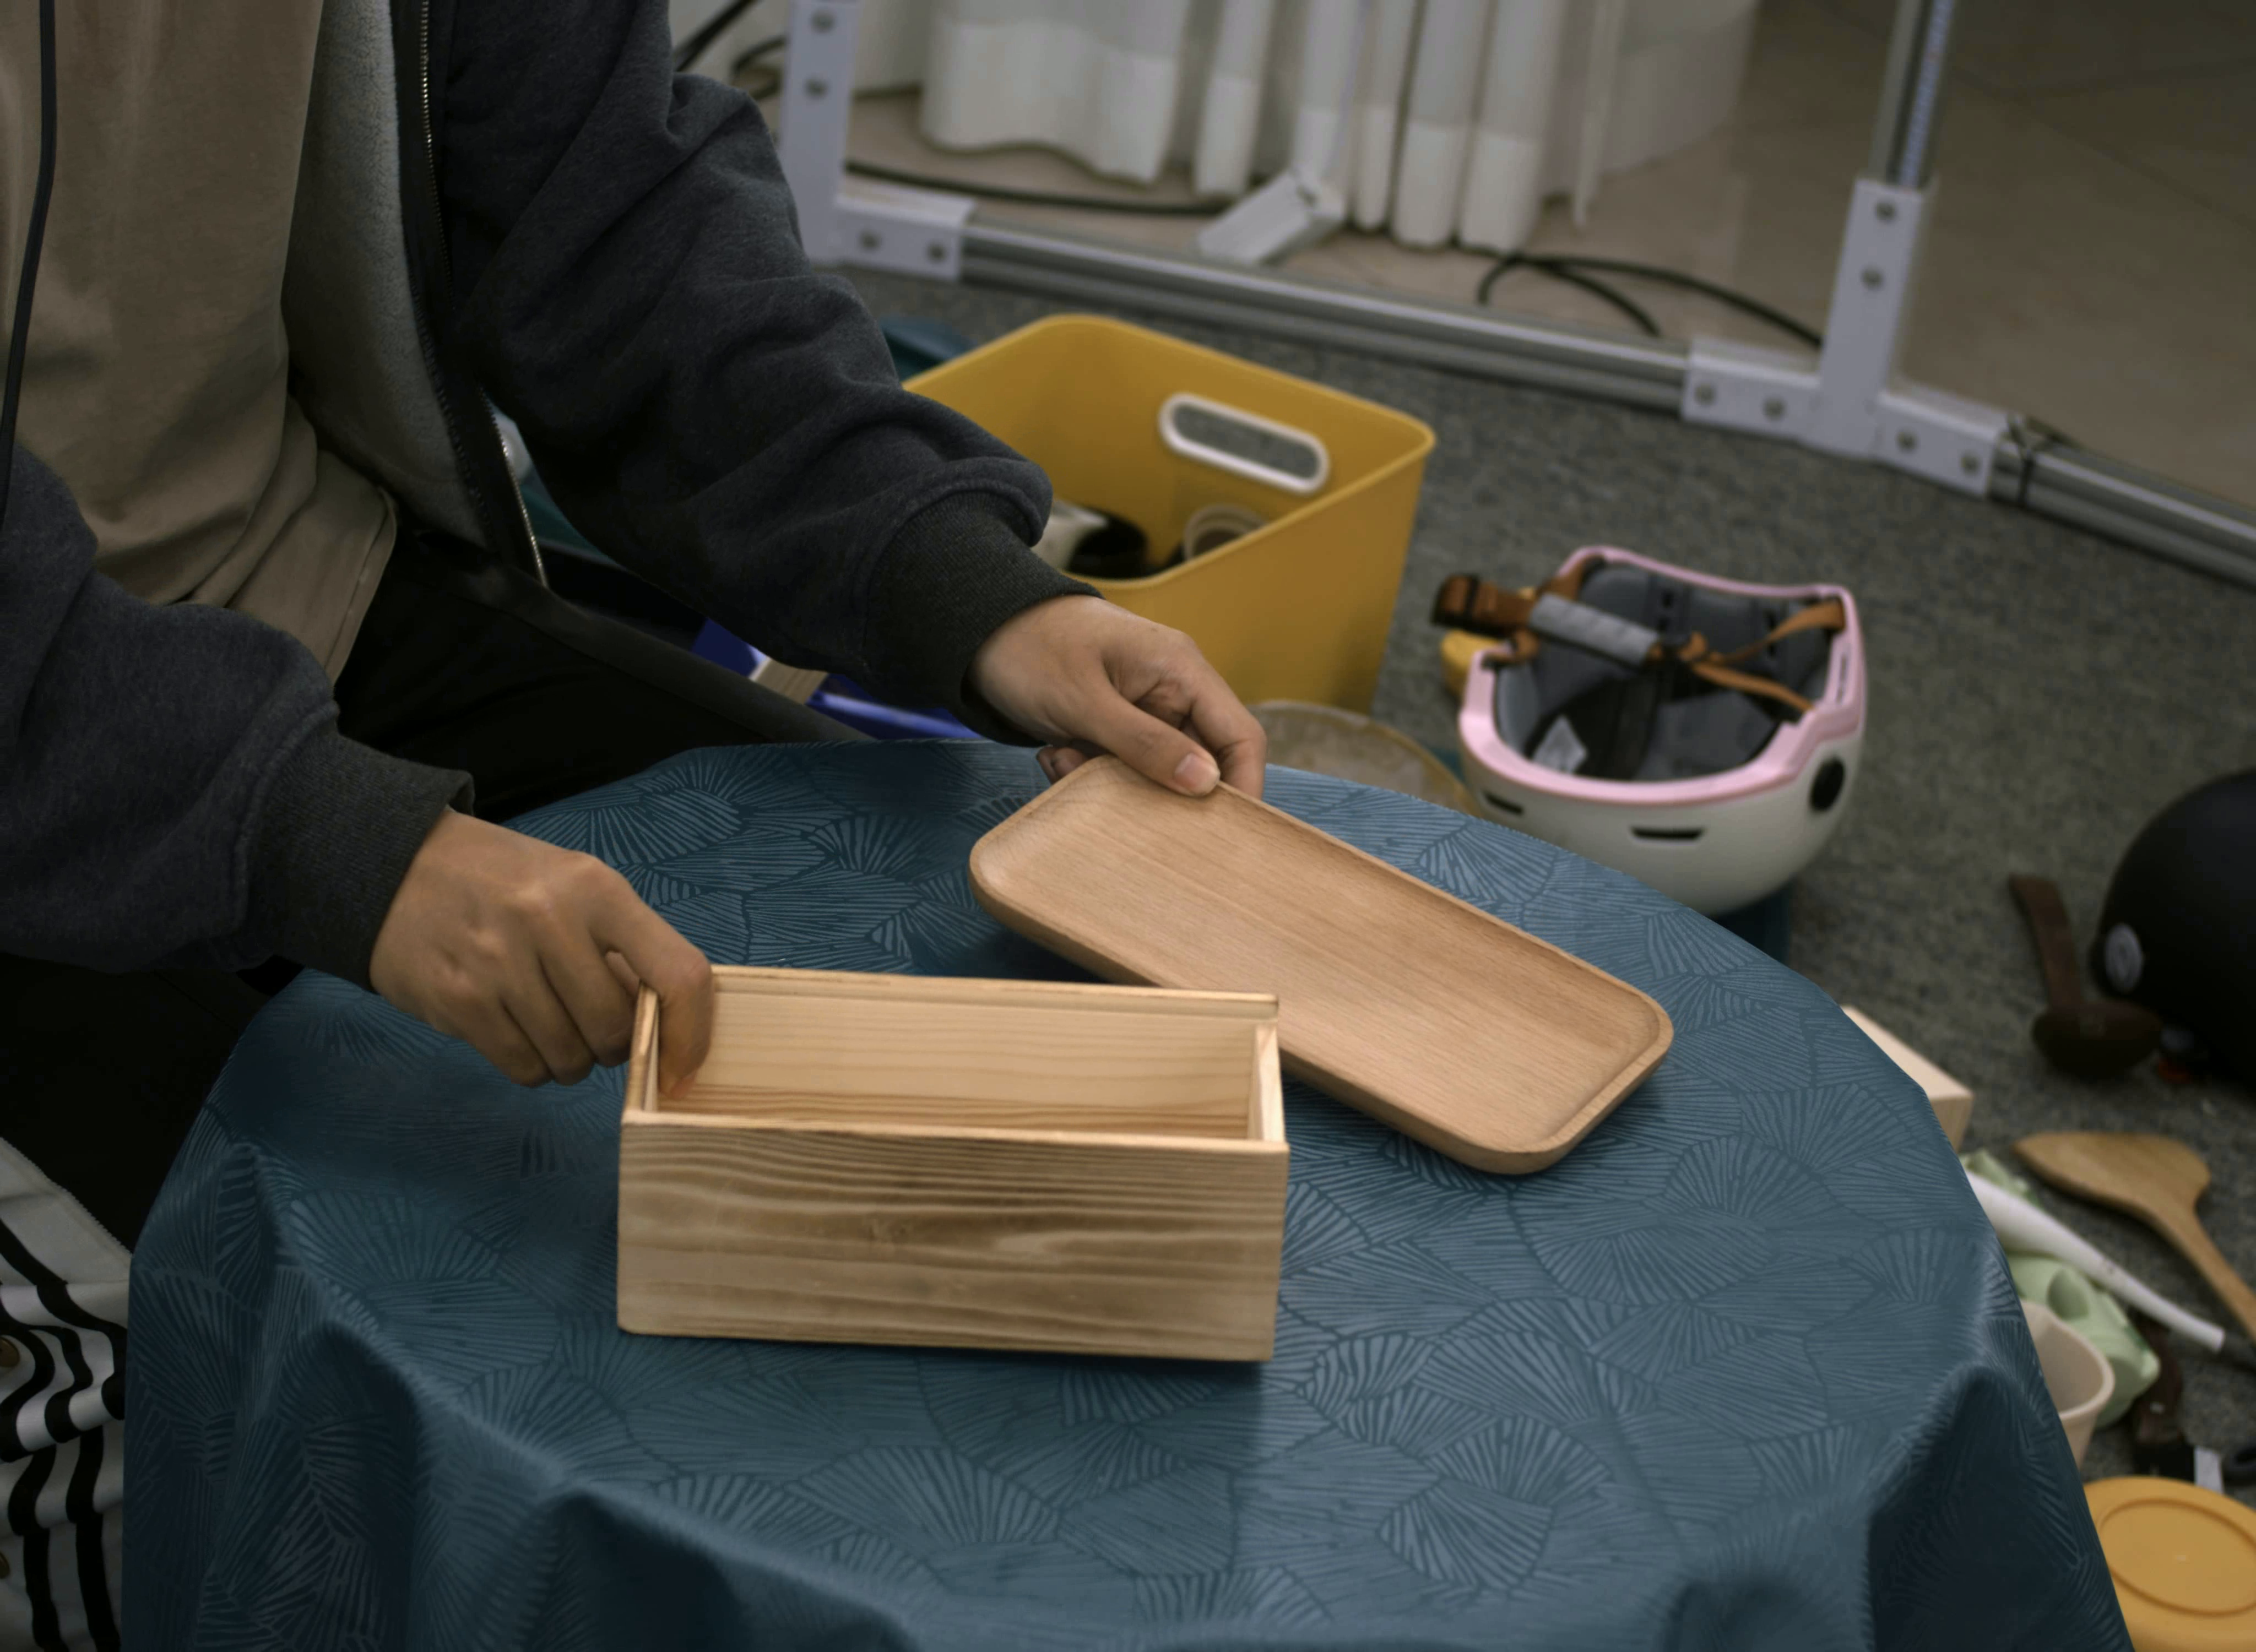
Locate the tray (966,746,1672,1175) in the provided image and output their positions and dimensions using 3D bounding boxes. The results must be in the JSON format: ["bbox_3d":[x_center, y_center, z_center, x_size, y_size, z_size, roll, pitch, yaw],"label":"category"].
[{"bbox_3d":[0.067,0.047,1.913,0.252,0.023,0.130,27,34,23],"label":"tray"}]

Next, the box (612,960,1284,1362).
[{"bbox_3d":[-0.058,0.108,1.722,0.211,0.080,0.108,3,27,-1],"label":"box"}]
